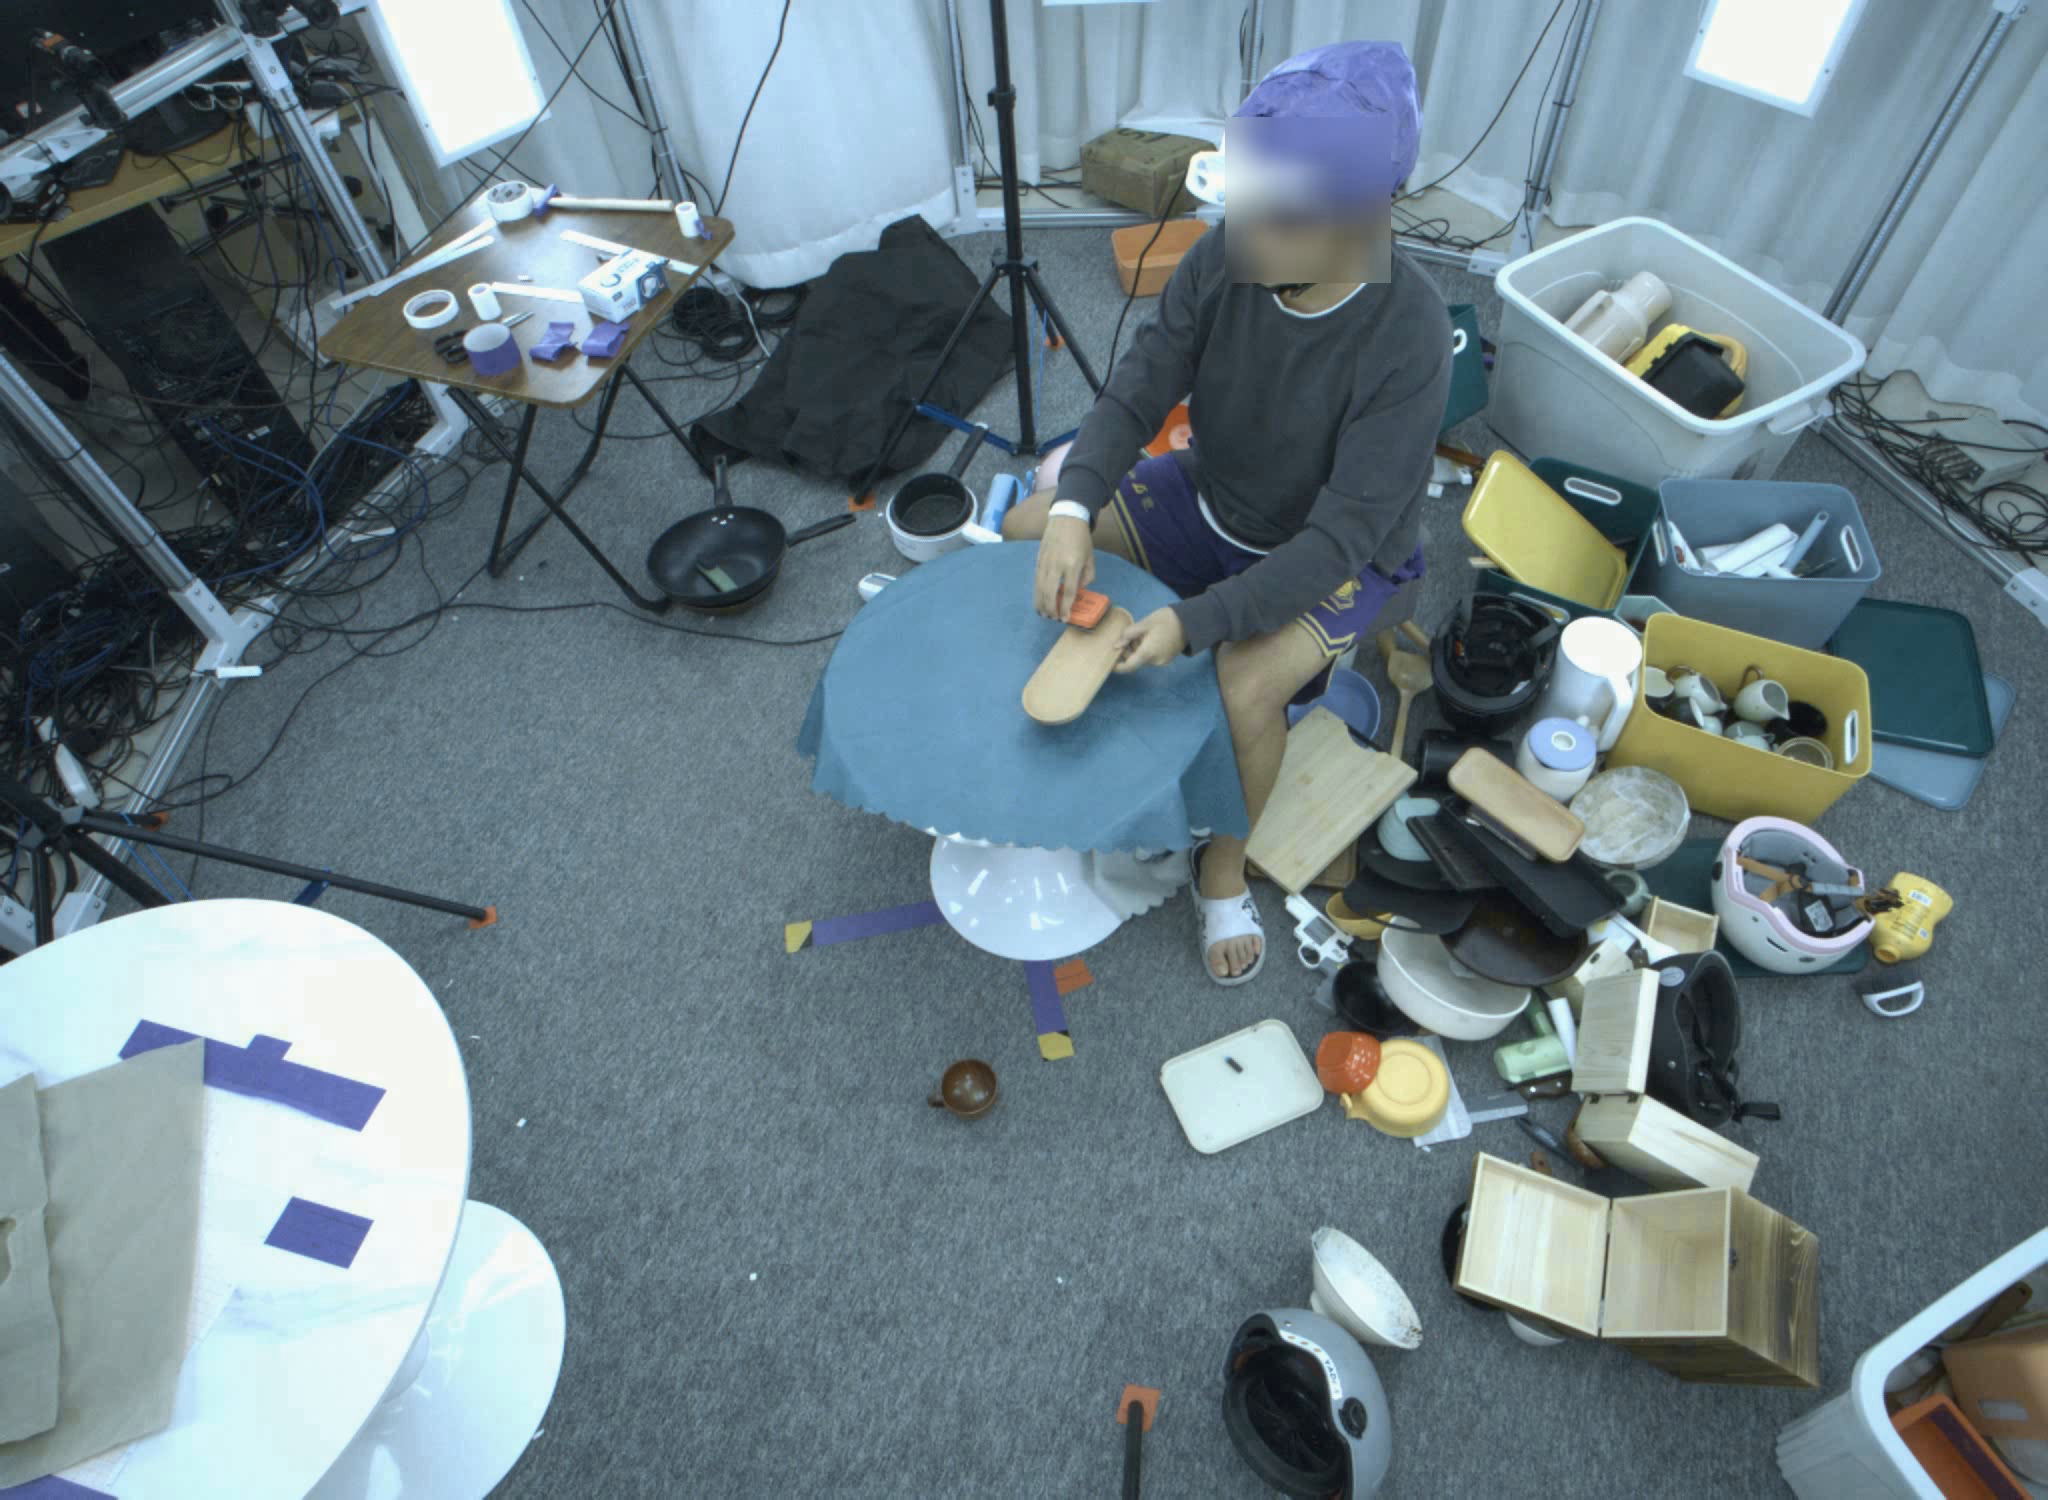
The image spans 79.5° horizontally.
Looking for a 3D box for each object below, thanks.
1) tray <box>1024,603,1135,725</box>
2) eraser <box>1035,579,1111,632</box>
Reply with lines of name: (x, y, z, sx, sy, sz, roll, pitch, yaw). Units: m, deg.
tray: (0.082, -0.128, 1.802, 0.100, 0.020, 0.231, 20, 60, 25)
eraser: (0.073, -0.217, 1.847, 0.106, 0.023, 0.059, 22, 72, 30)
